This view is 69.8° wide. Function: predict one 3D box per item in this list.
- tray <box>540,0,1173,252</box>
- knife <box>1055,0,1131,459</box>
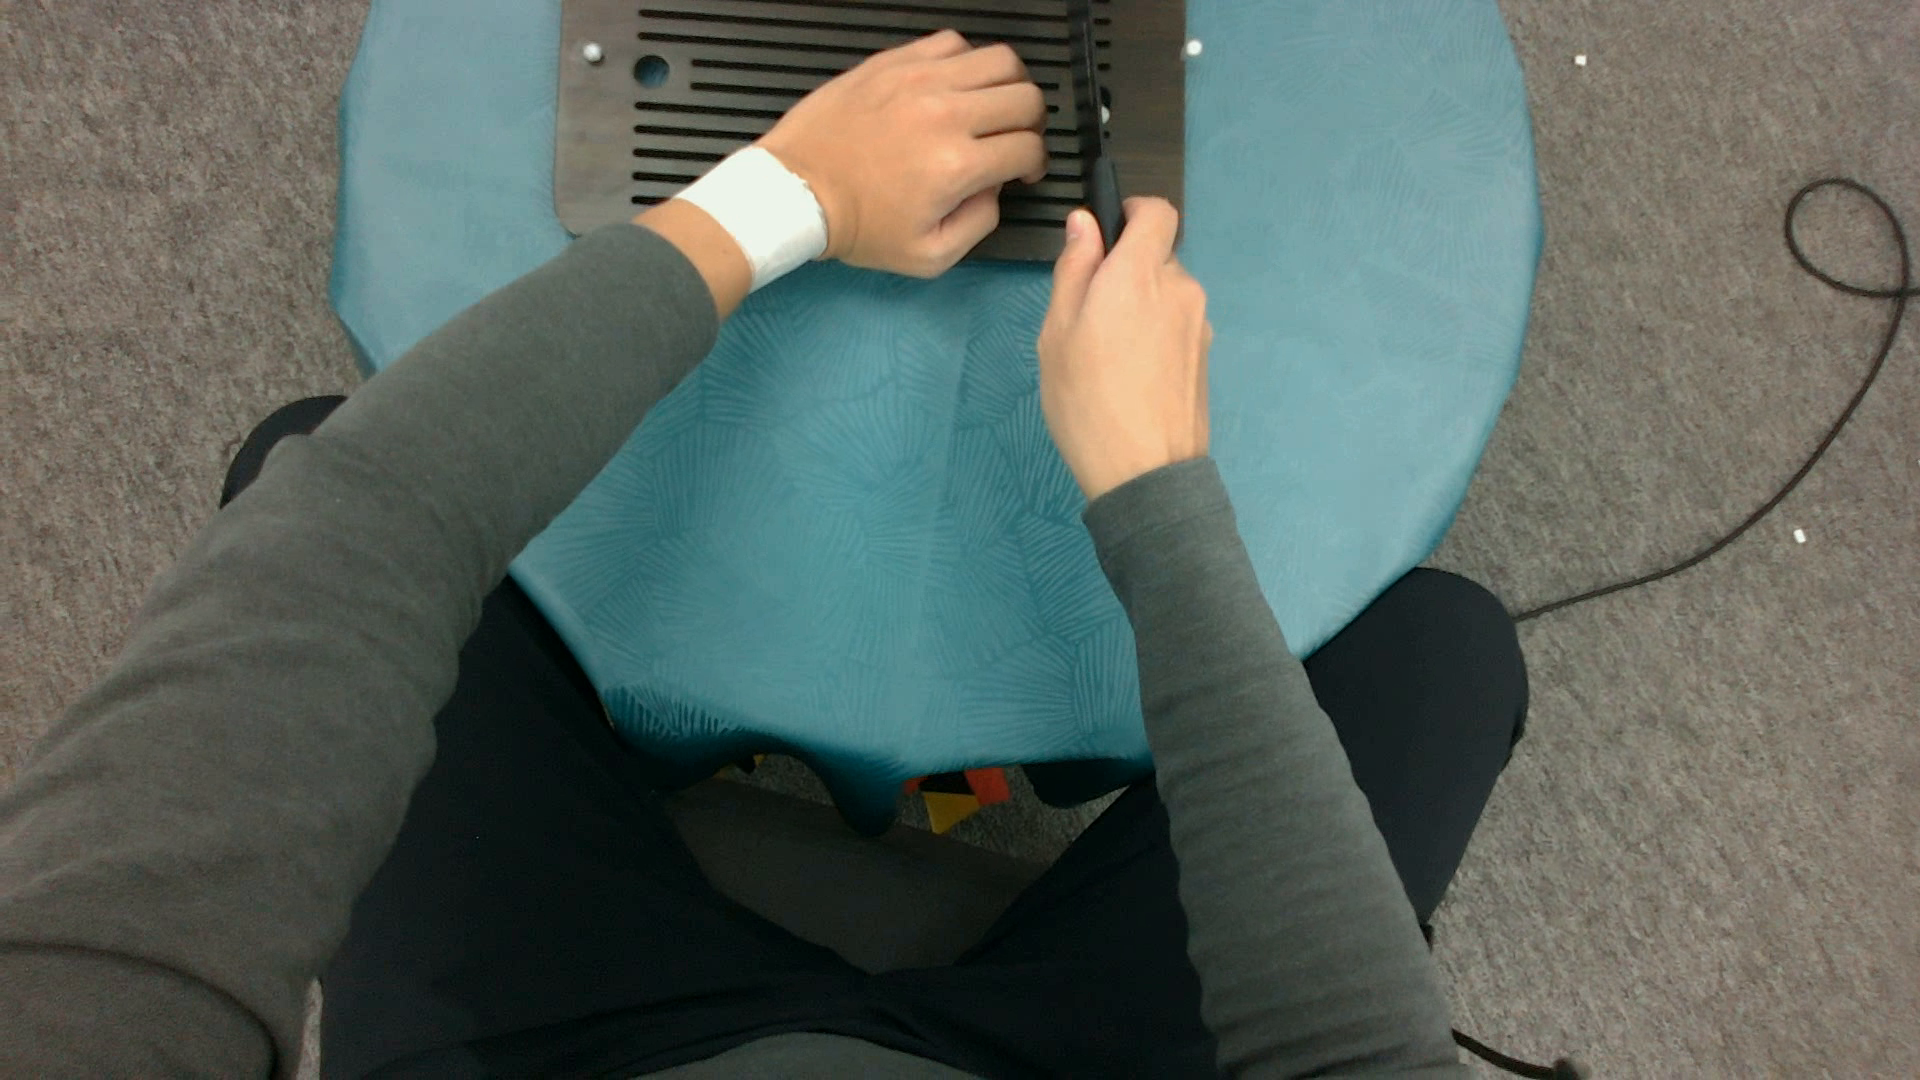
[{"bbox_3d":[-0.046,-0.231,0.680,0.306,0.018,0.170,2,85,-6],"label":"tray"},{"bbox_3d":[0.052,-0.187,0.617,0.021,0.081,0.302,-4,83,-2],"label":"knife"}]
